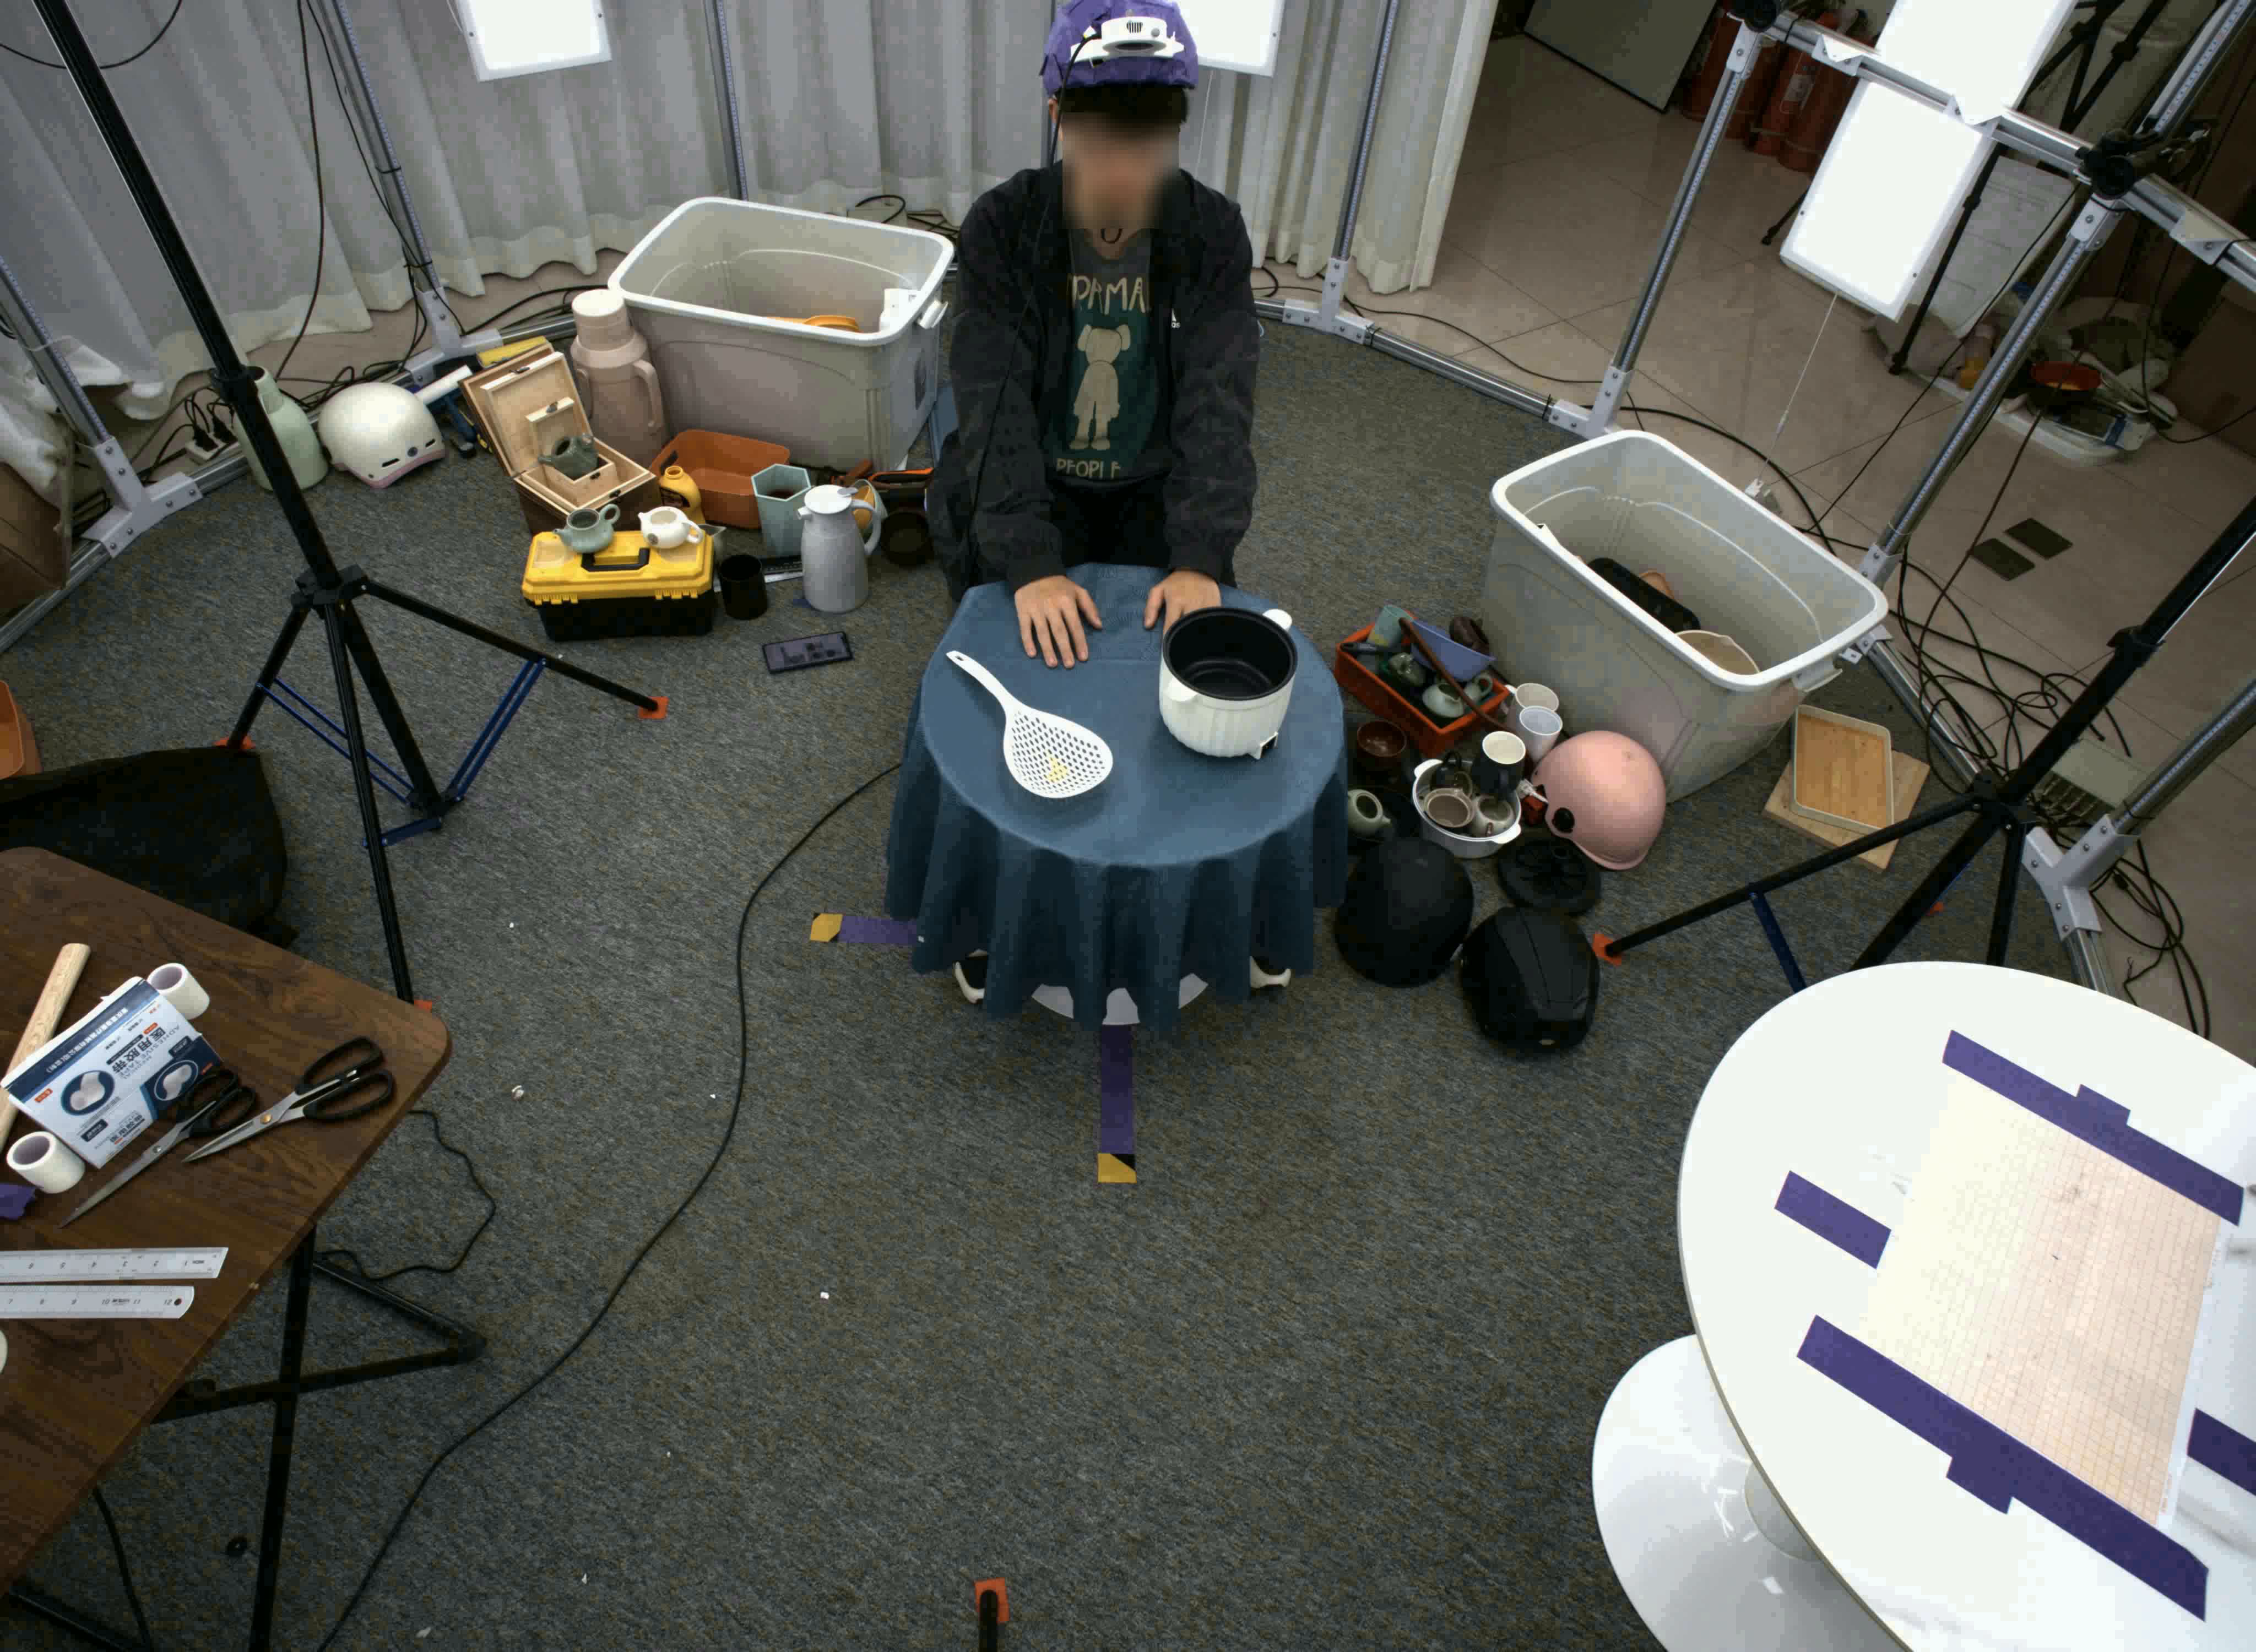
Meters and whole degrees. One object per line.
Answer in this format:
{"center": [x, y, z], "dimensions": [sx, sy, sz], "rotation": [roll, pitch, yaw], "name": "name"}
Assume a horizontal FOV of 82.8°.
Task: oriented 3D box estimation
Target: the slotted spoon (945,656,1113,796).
{"center": [-0.153, -0.150, 1.759], "dimensions": [0.137, 0.049, 0.355], "rotation": [-27, 56, -22], "name": "slotted spoon"}

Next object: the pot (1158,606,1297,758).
{"center": [0.126, -0.192, 1.752], "dimensions": [0.193, 0.139, 0.243], "rotation": [38, 55, 23], "name": "pot"}
